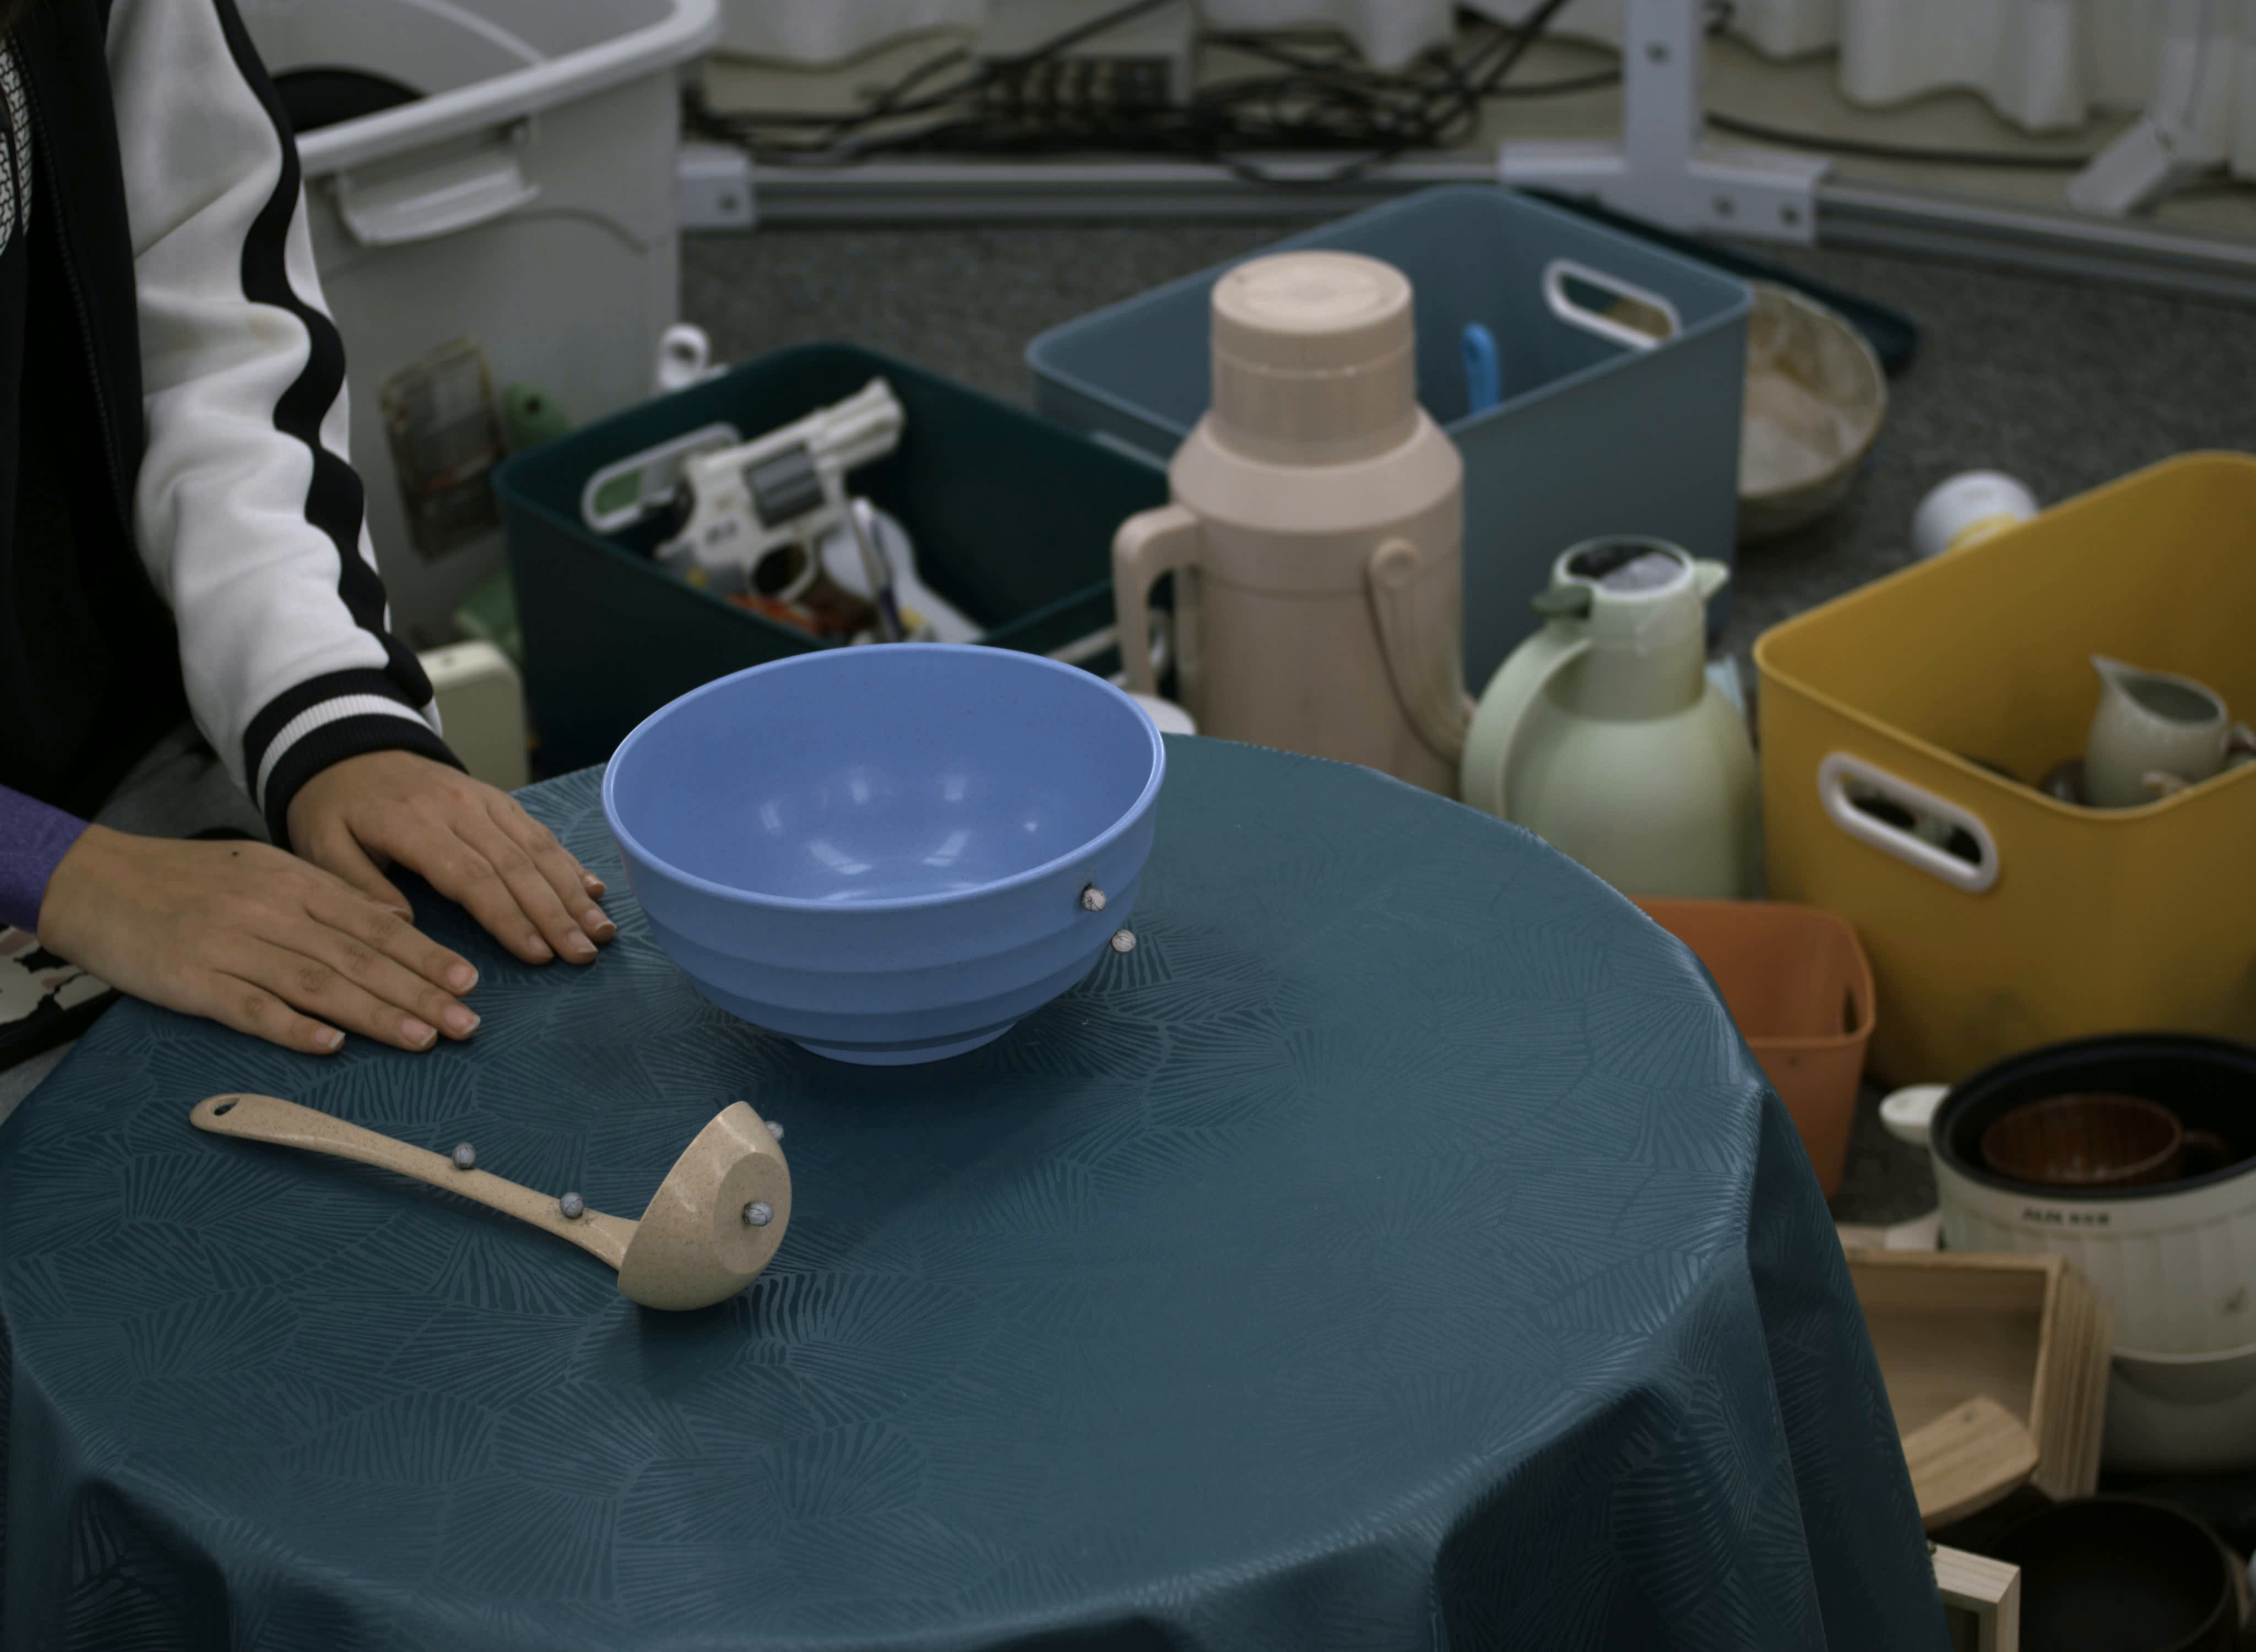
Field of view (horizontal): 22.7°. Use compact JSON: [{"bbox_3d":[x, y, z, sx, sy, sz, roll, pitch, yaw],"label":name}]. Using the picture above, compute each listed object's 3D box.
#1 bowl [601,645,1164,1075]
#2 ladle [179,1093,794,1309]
[{"bbox_3d":[-0.081,0.024,1.964,0.195,0.094,0.199,-3,28,2],"label":"bowl"},{"bbox_3d":[-0.223,0.100,1.847,0.253,0.072,0.073,13,43,29],"label":"ladle"}]
